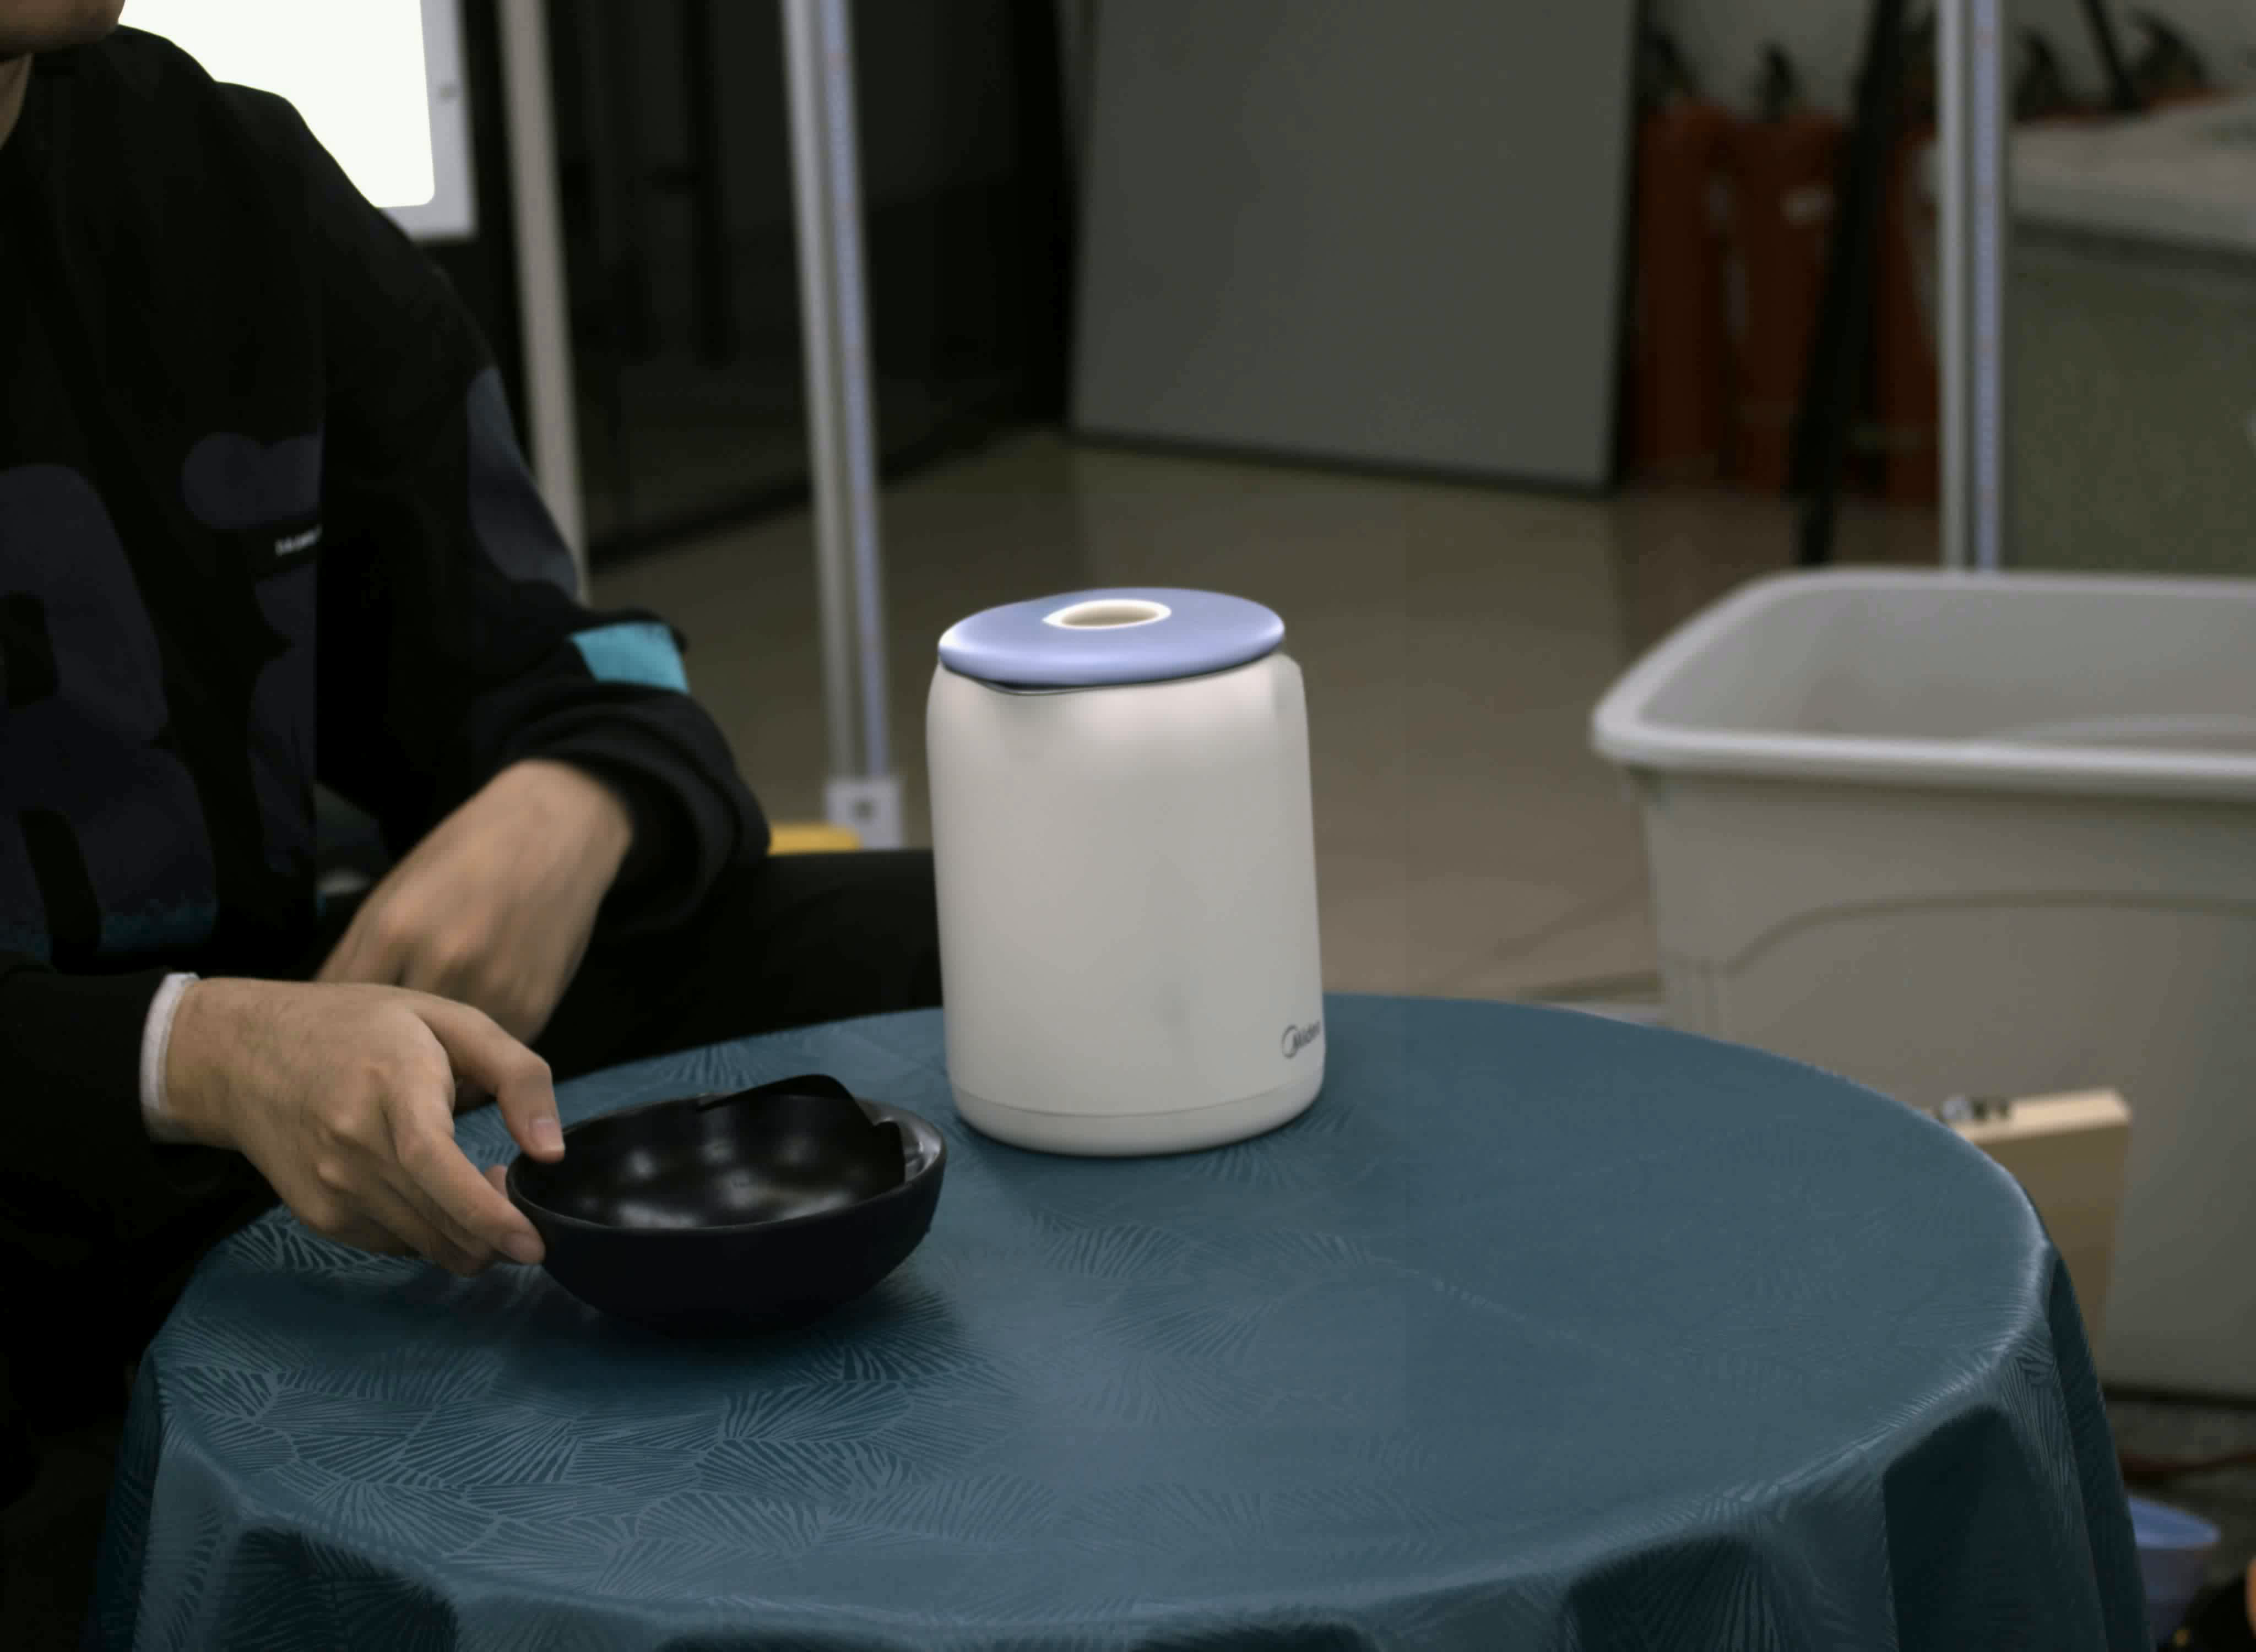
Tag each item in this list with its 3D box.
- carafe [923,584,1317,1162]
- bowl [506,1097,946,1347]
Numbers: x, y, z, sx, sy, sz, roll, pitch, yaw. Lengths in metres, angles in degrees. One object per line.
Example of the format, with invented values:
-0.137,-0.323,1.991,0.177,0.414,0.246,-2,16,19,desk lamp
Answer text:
0.008,0.010,1.862,0.132,0.184,0.188,4,13,26,carafe
-0.122,0.127,1.682,0.138,0.050,0.140,-6,12,0,bowl
